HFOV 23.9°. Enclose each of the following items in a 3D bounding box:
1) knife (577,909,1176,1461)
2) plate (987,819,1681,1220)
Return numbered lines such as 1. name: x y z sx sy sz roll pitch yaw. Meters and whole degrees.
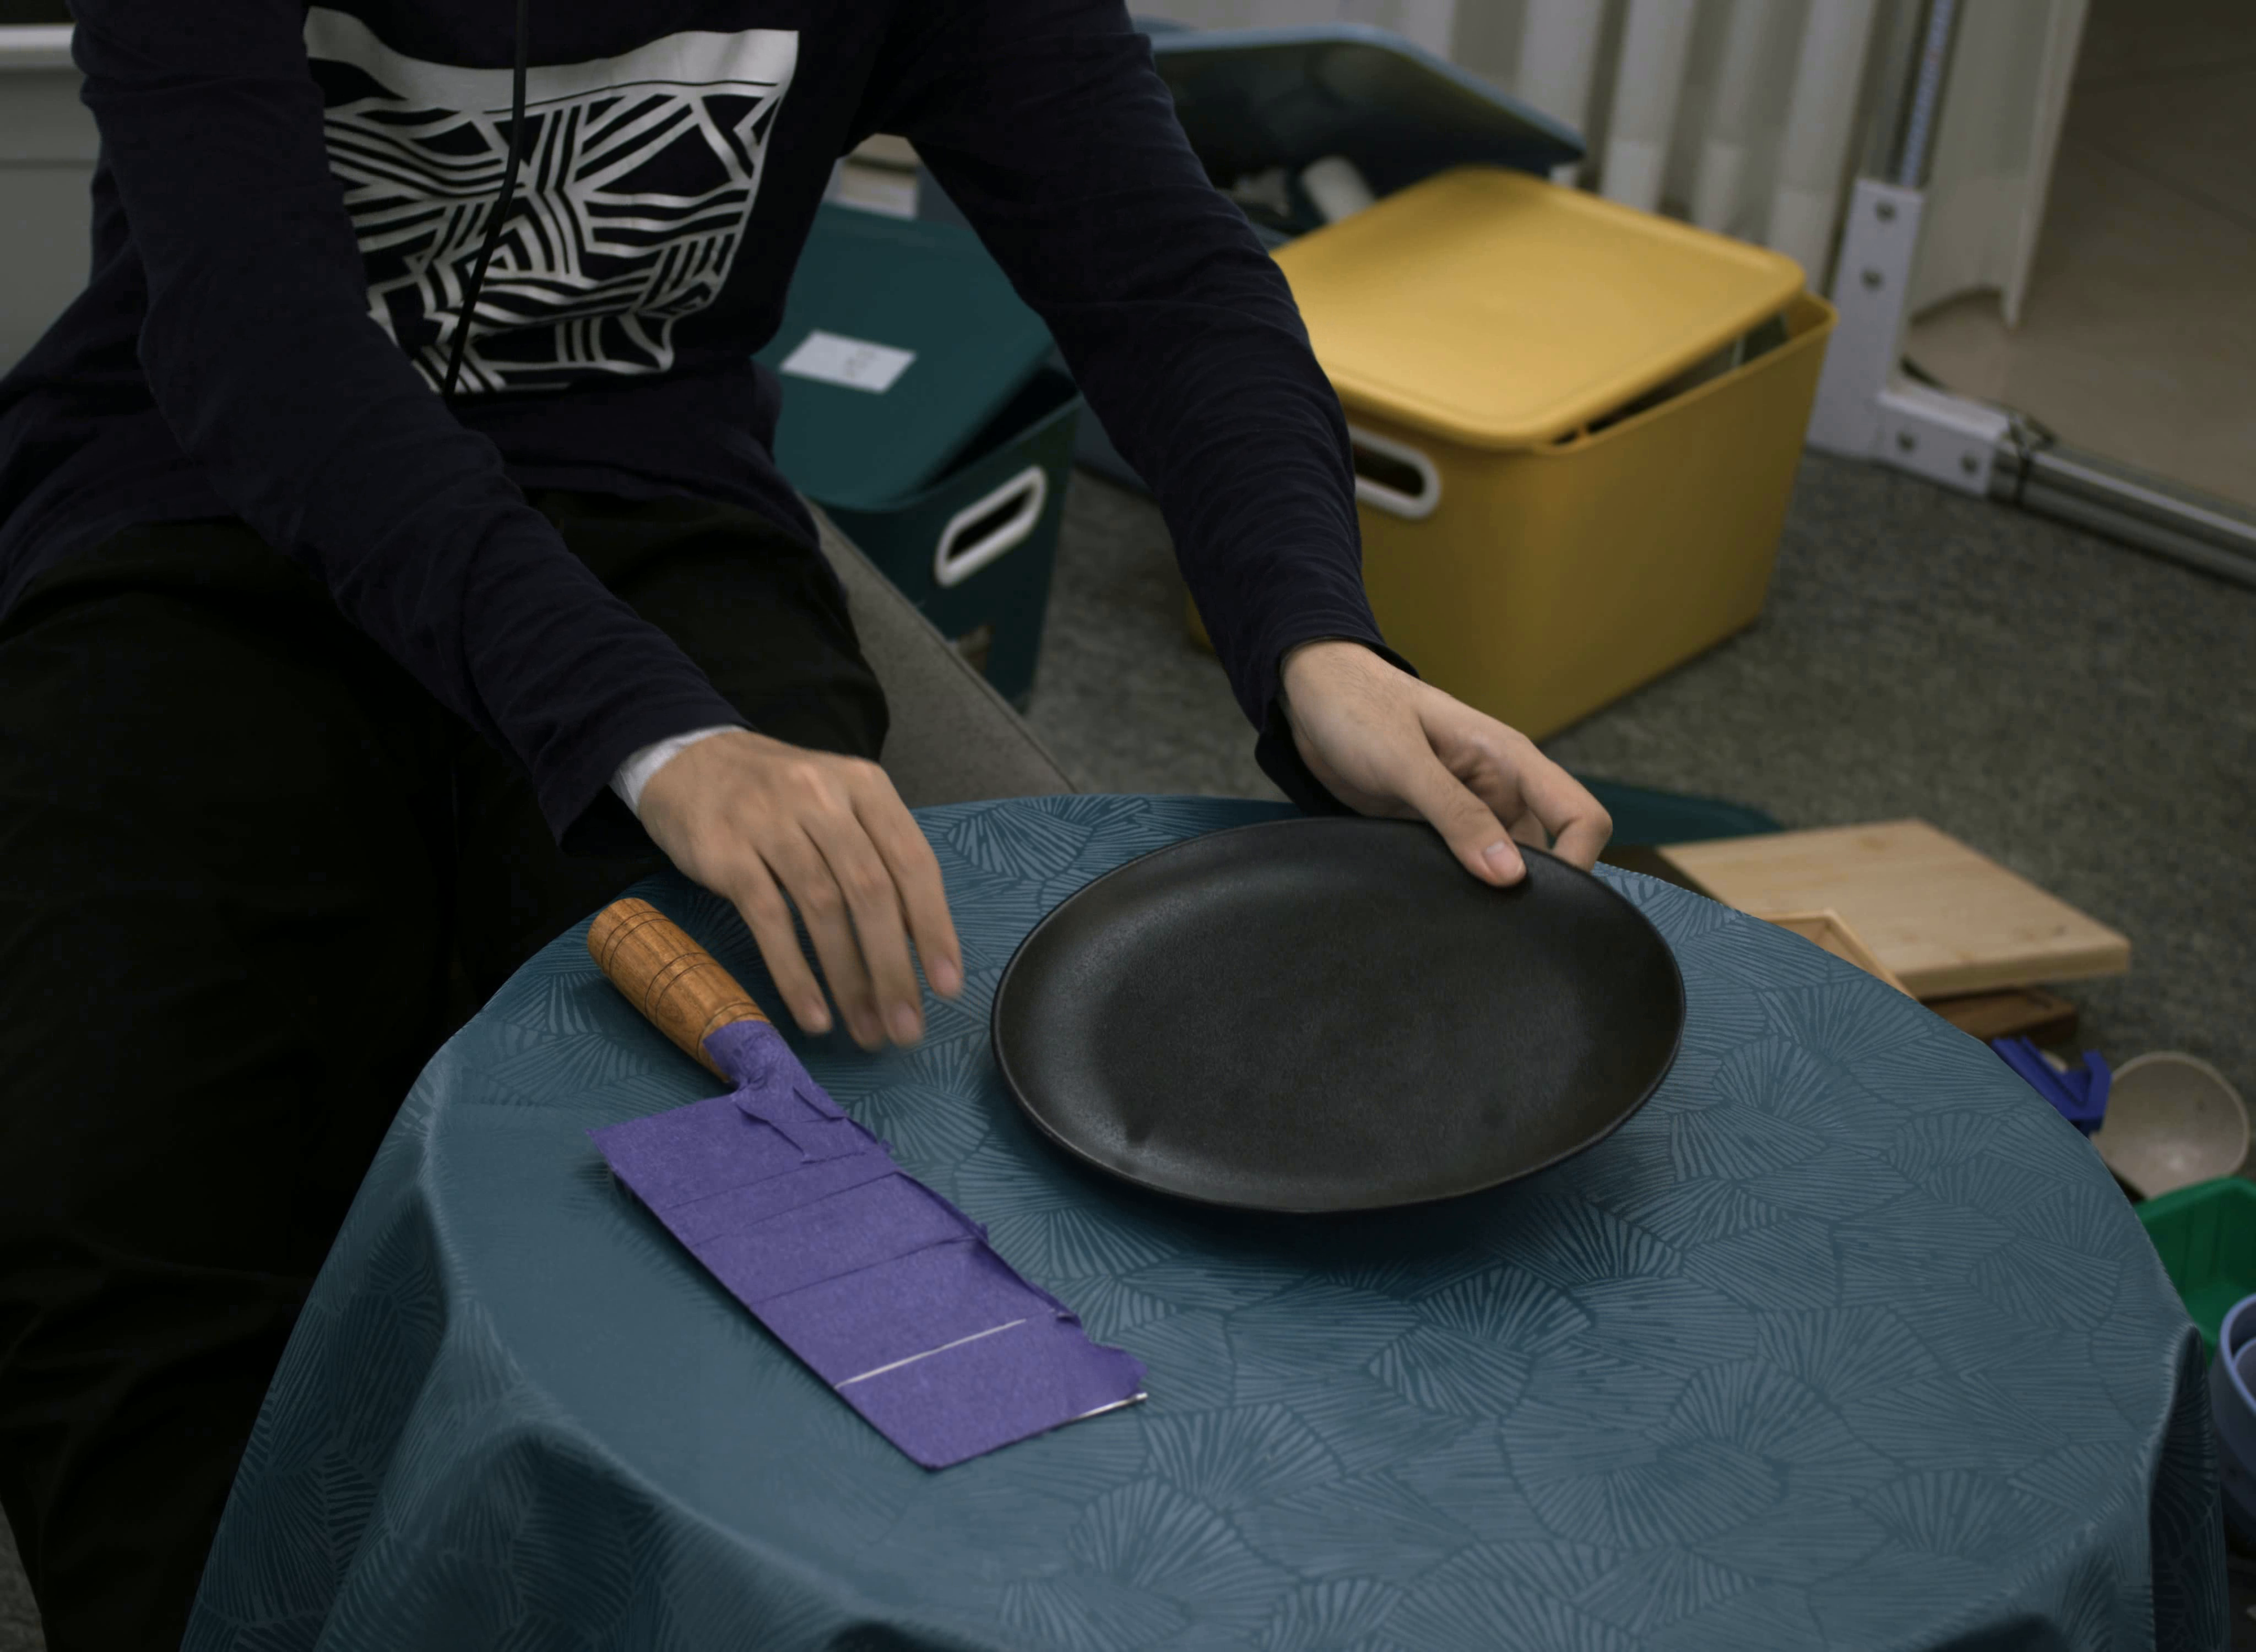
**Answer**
1. knife: -0.115 0.115 1.768 0.103 0.032 0.318 -13 33 -35
2. plate: 0.072 0.071 1.866 0.244 0.023 0.246 -3 32 1
